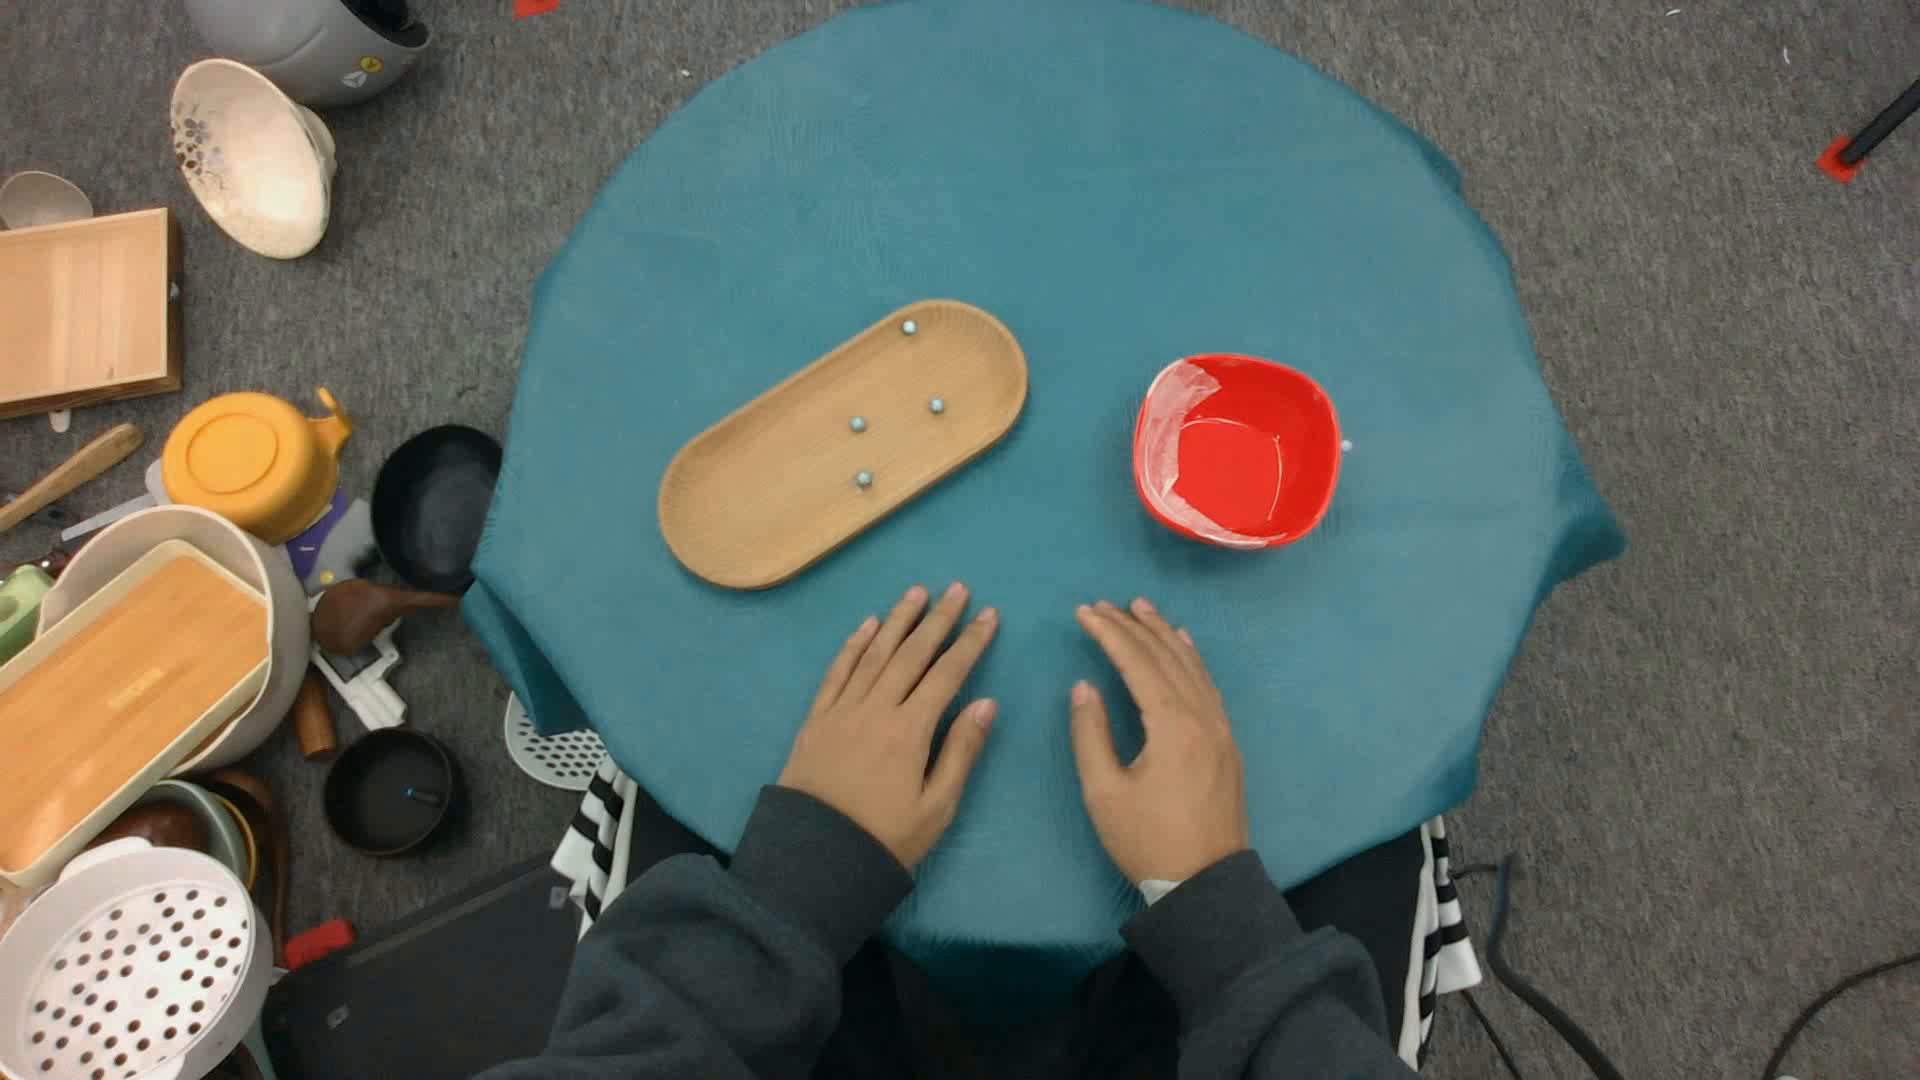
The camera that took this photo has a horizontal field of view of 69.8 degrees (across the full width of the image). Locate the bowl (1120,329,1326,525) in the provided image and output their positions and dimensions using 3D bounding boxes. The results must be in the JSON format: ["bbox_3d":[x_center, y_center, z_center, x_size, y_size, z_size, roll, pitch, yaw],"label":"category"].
[{"bbox_3d":[0.140,-0.055,0.759,0.119,0.051,0.119,0,70,-1],"label":"bowl"}]

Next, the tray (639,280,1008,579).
[{"bbox_3d":[-0.075,-0.064,0.781,0.231,0.020,0.102,-36,75,-10],"label":"tray"}]
